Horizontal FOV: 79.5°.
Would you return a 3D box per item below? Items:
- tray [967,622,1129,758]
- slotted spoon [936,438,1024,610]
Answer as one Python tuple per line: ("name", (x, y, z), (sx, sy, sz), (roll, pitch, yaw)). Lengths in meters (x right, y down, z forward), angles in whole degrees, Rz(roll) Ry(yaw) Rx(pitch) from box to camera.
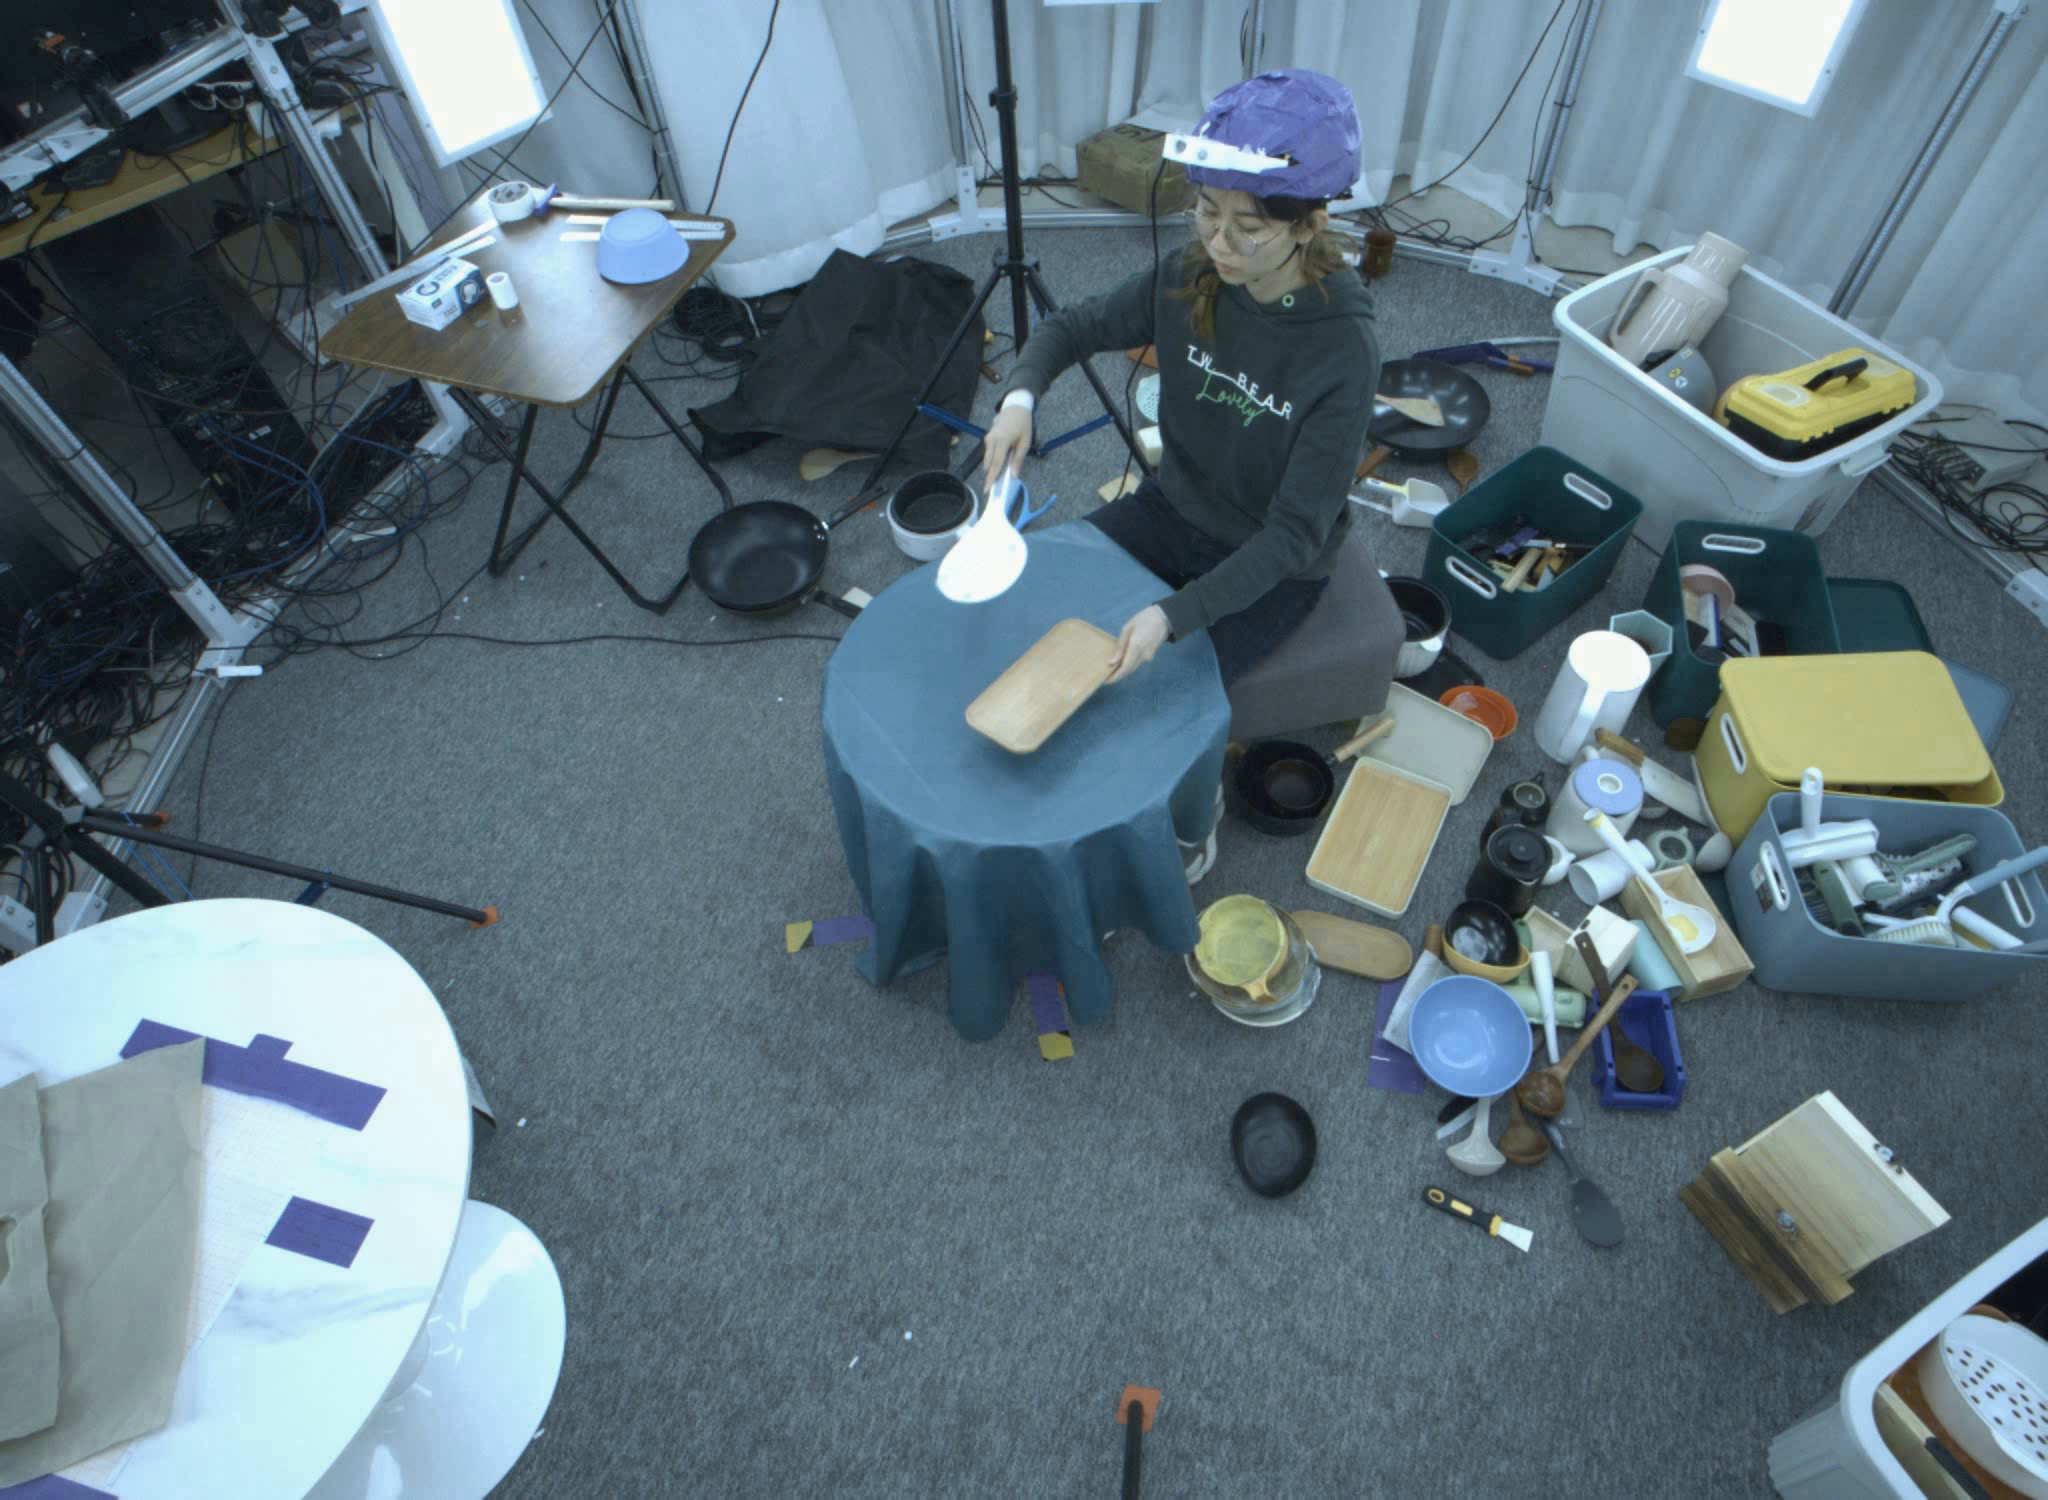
("tray", (0.036, -0.089, 1.780), (0.128, 0.023, 0.252), (33, 62, 25))
("slotted spoon", (-0.046, -0.343, 1.828), (0.134, 0.046, 0.347), (-3, 61, 20))
